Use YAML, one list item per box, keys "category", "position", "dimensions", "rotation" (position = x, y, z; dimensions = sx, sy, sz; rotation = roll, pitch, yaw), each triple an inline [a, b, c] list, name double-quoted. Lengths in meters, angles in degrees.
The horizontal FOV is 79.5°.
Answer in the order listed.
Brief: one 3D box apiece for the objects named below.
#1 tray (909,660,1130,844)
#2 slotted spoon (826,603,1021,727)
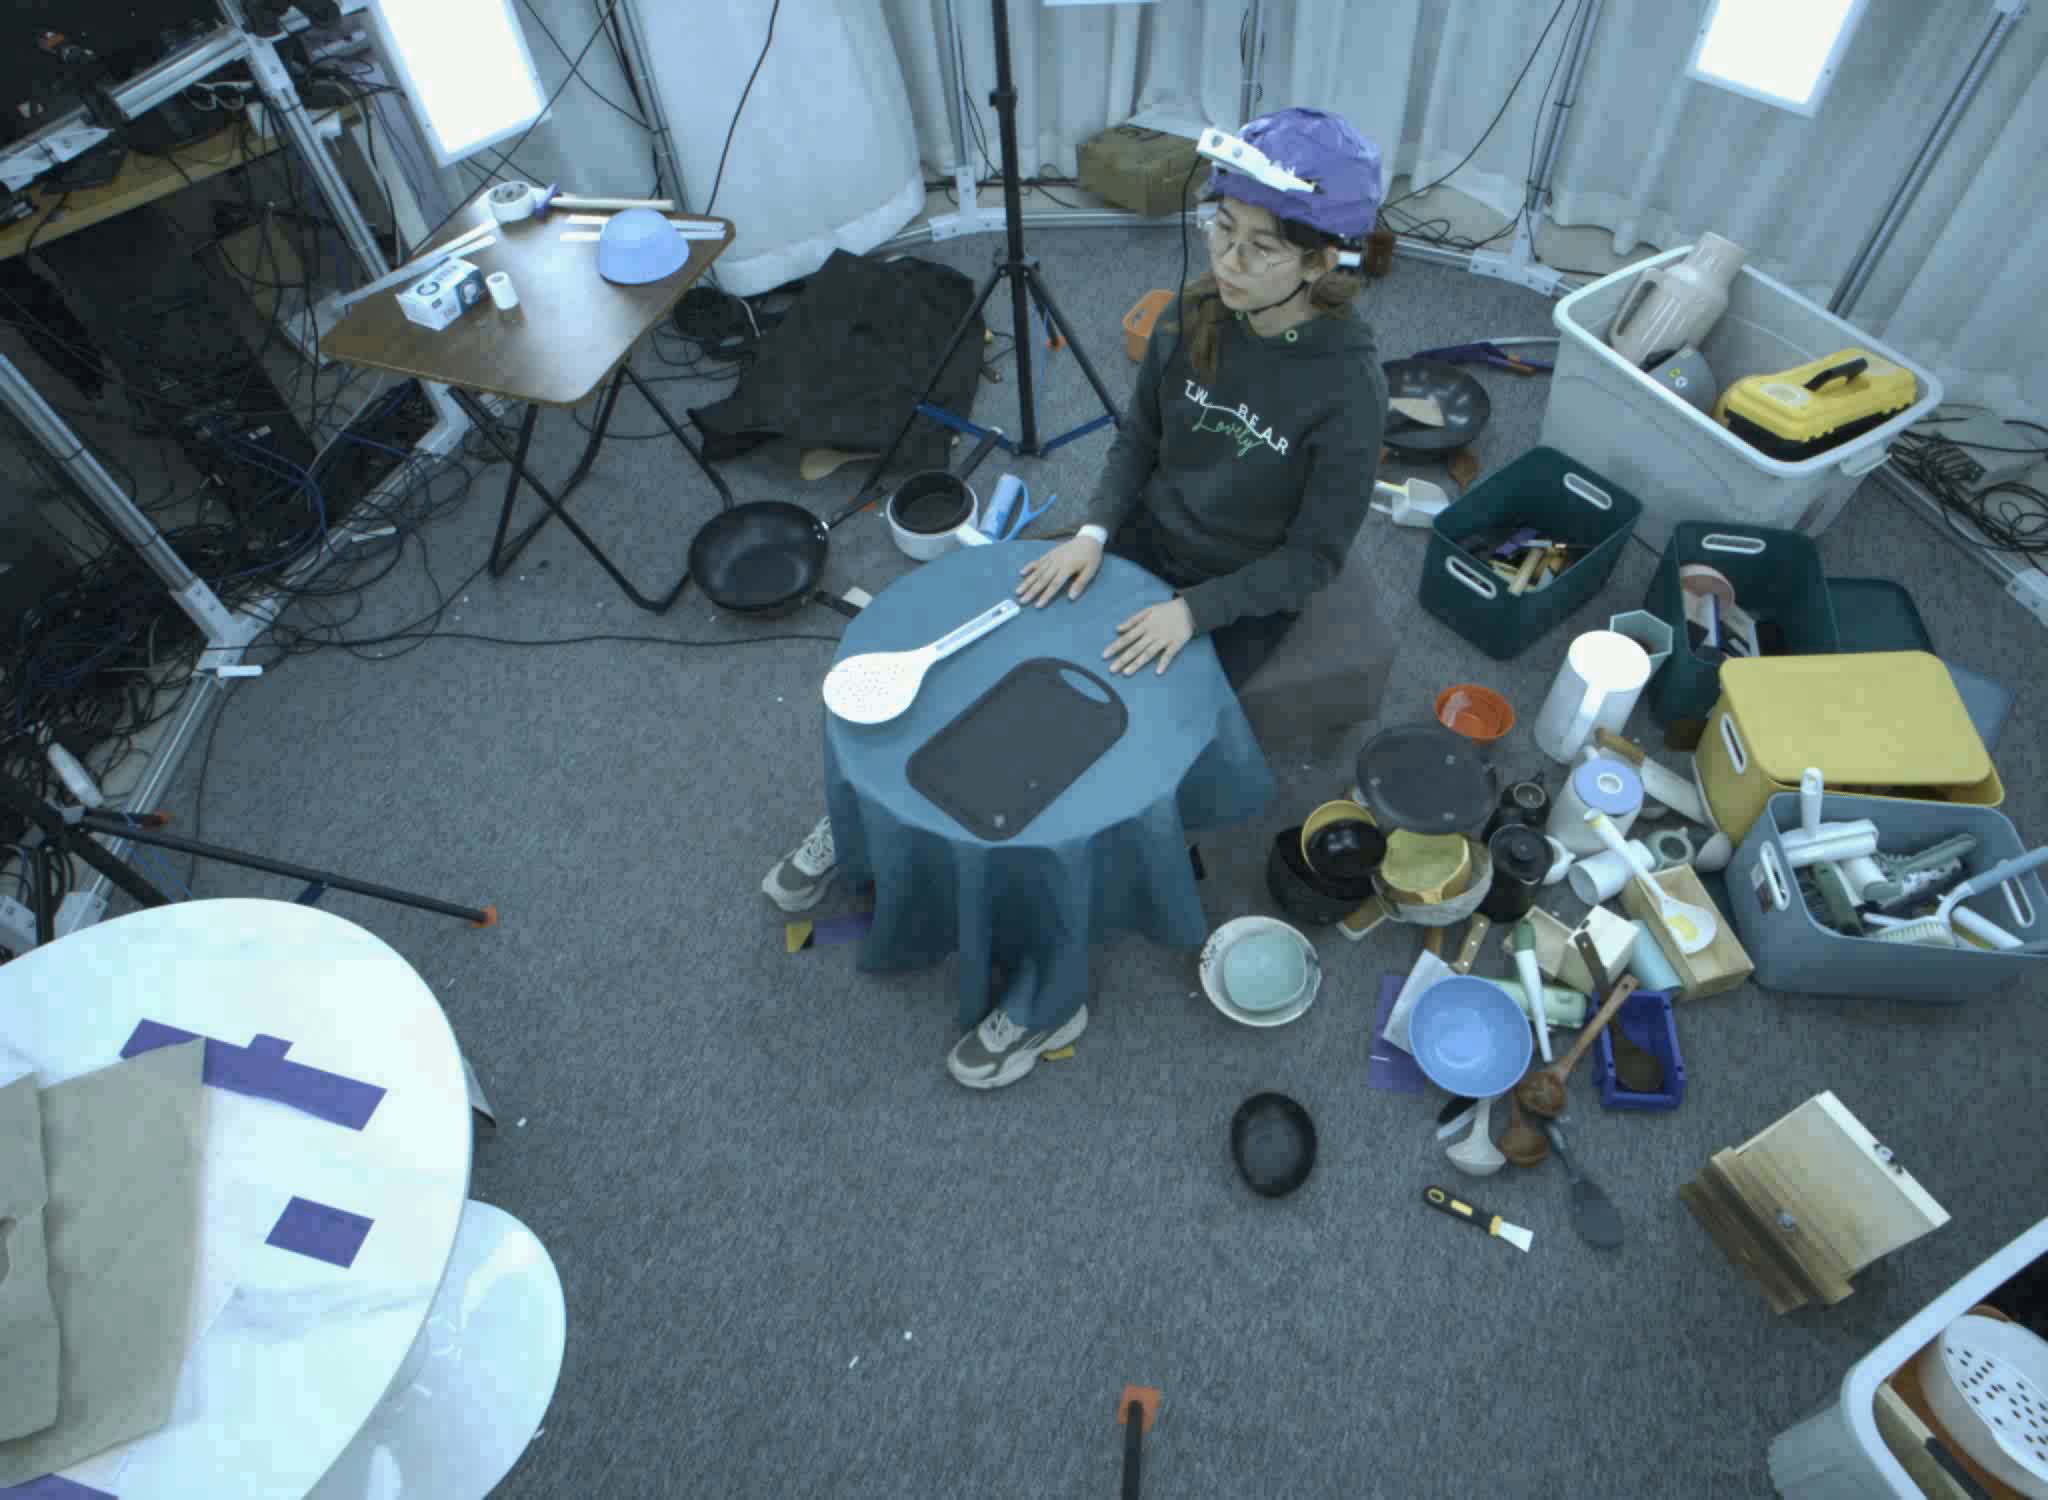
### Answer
- category: "tray"
  position: [-0.001, -0.010, 1.801]
  dimensions: [0.207, 0.010, 0.327]
  rotation: [37, 63, 24]
- category: "slotted spoon"
  position: [-0.145, -0.138, 1.871]
  dimensions: [0.352, 0.046, 0.133]
  rotation: [-36, 63, -22]
